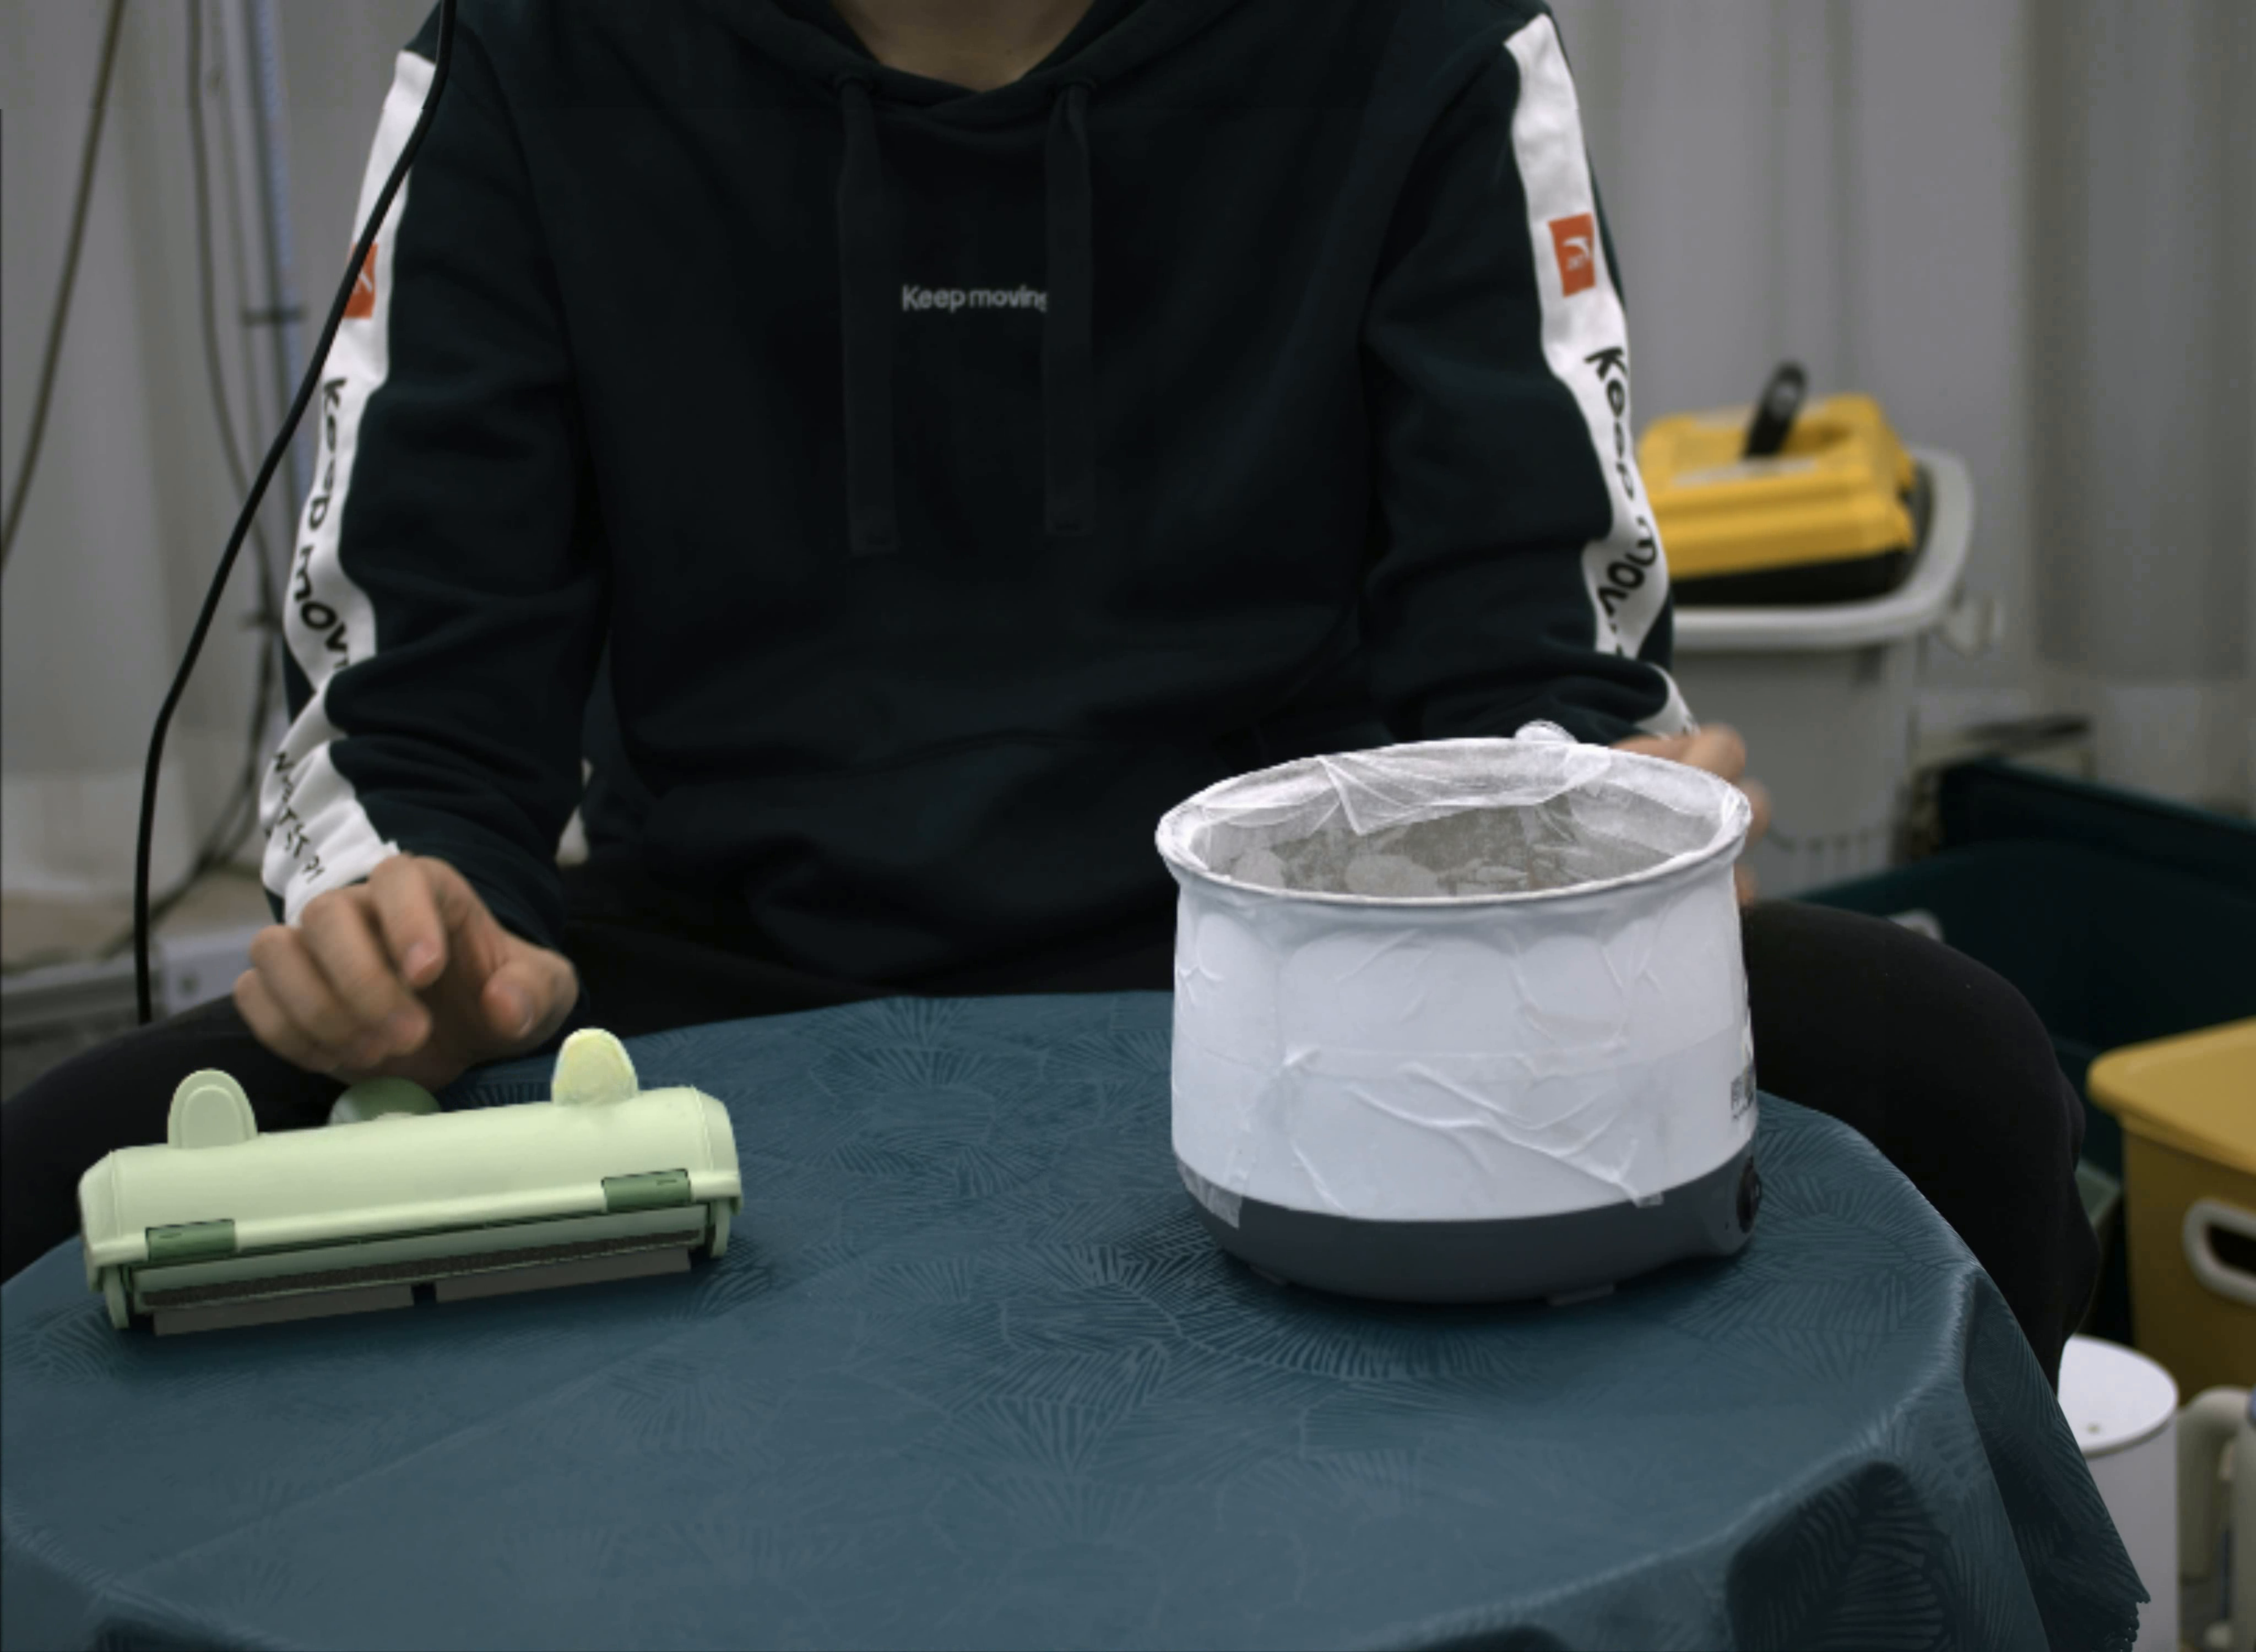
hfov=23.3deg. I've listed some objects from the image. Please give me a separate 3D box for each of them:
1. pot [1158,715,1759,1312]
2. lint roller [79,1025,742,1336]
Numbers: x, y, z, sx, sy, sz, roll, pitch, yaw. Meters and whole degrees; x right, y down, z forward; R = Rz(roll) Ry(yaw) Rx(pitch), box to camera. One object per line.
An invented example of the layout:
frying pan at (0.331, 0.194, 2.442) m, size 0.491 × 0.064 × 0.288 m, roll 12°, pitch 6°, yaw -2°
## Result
pot at (0.109, 0.051, 1.664) m, size 0.179 × 0.136 × 0.234 m, roll 3°, pitch 17°, yaw 19°
lint roller at (-0.228, 0.091, 1.704) m, size 0.198 × 0.081 × 0.185 m, roll -6°, pitch 20°, yaw -11°
